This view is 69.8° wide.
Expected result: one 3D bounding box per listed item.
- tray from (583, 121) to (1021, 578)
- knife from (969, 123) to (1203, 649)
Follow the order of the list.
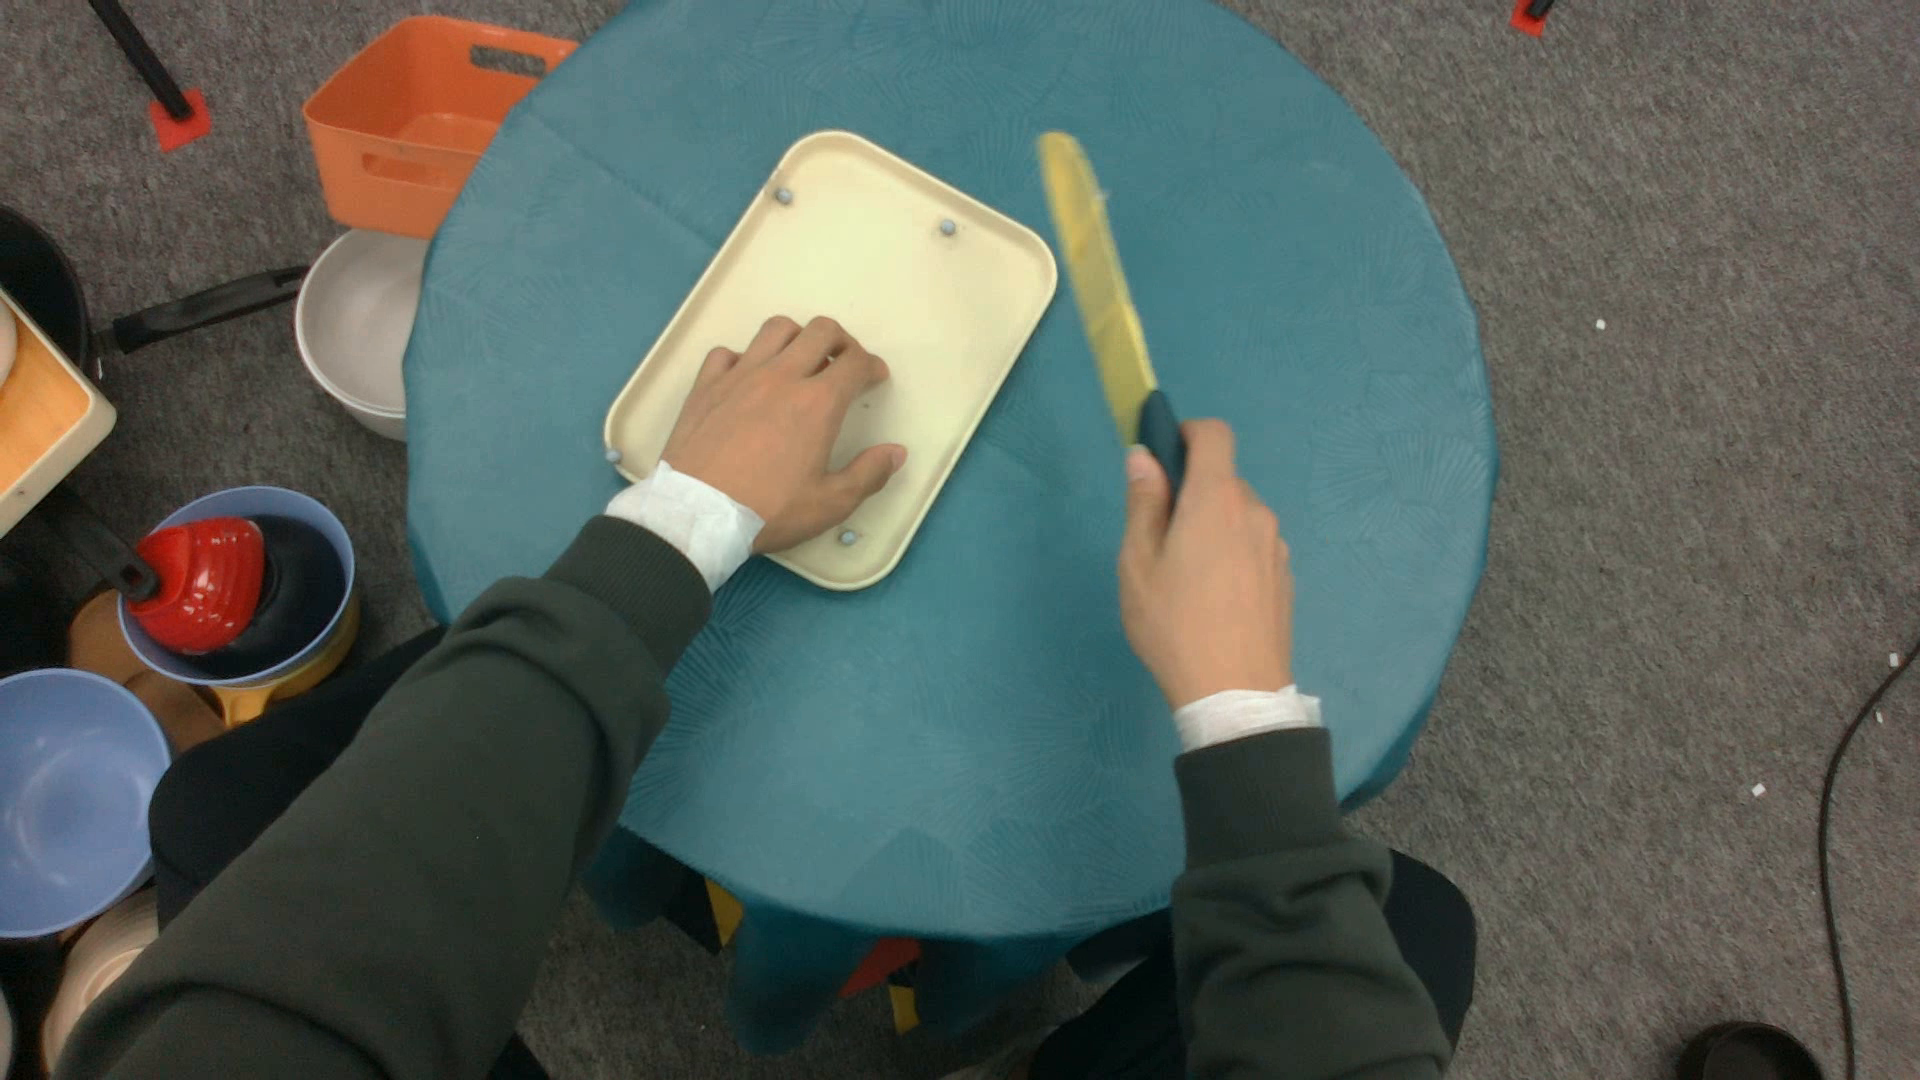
[{"bbox_3d":[-0.078,-0.107,0.745,0.171,0.017,0.240,28,71,1],"label":"tray"},{"bbox_3d":[0.055,-0.080,0.680,0.027,0.081,0.290,-19,79,-9],"label":"knife"}]
